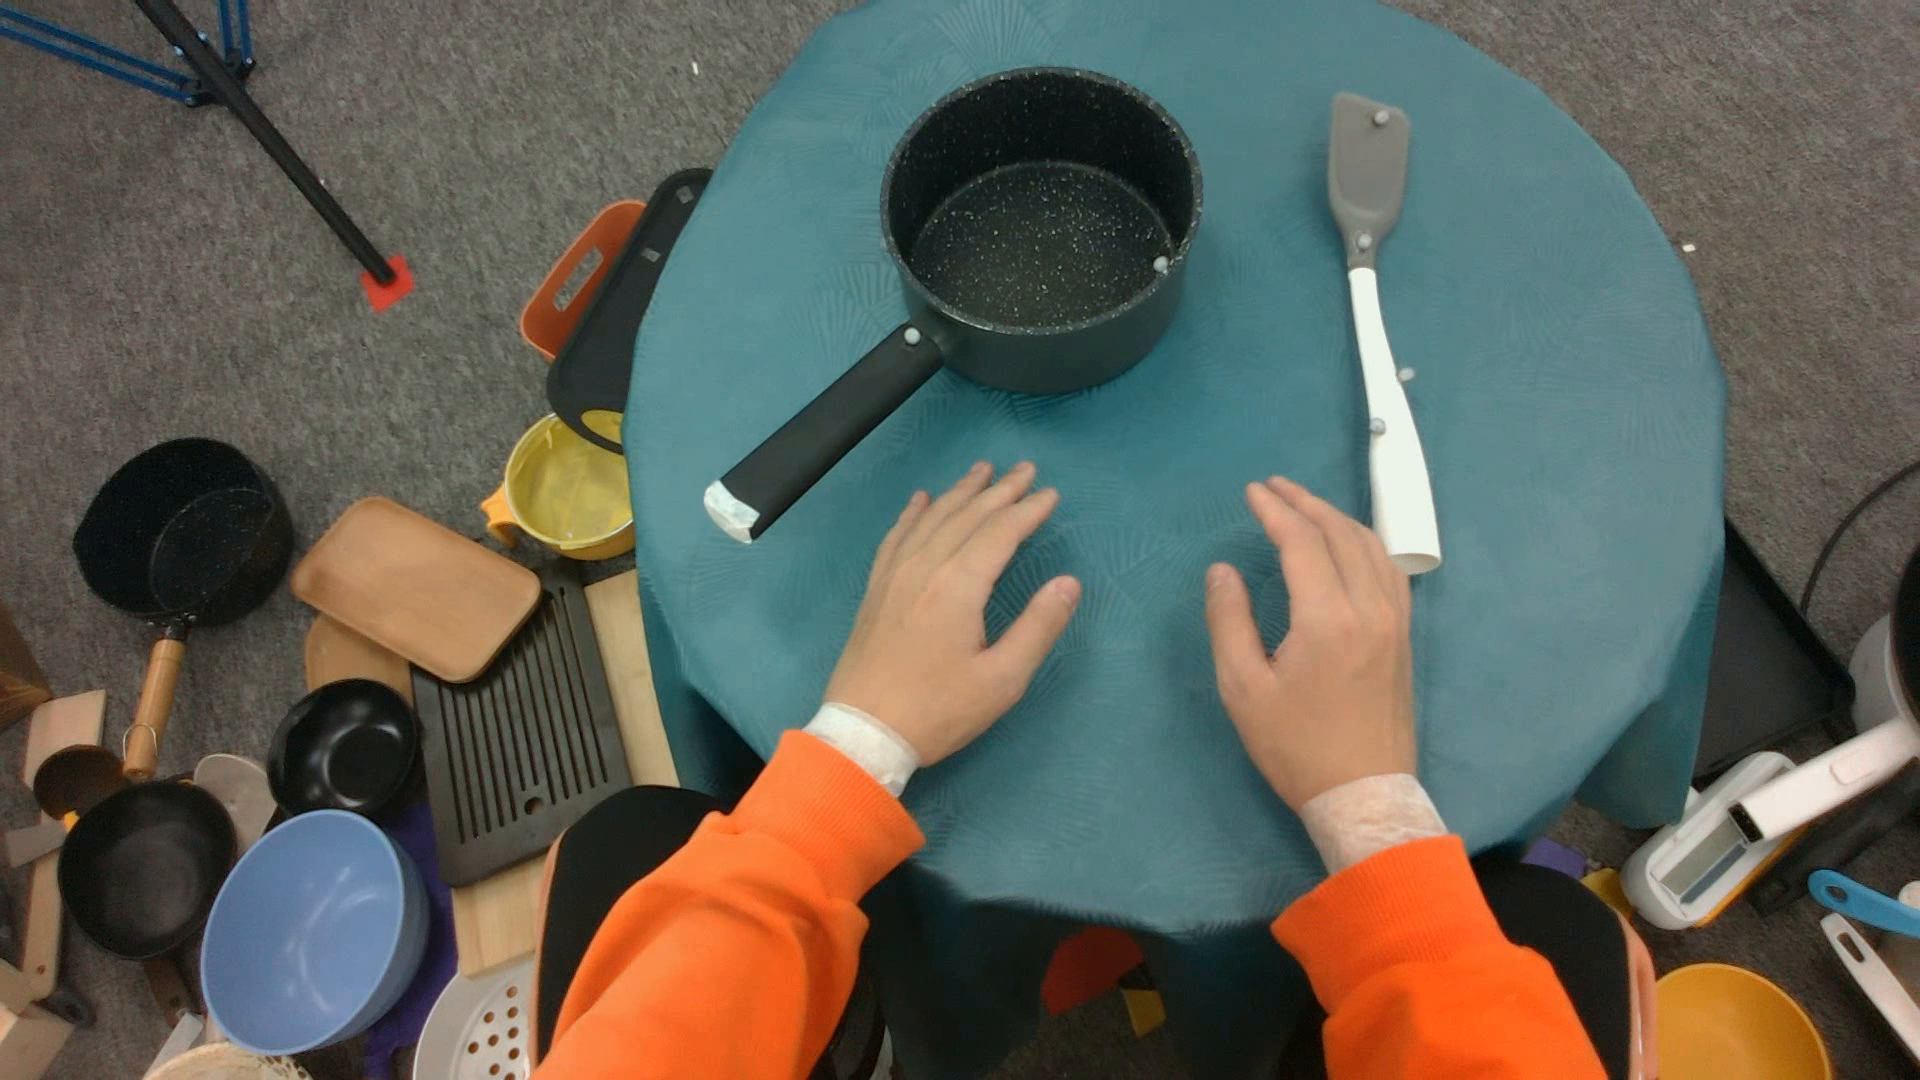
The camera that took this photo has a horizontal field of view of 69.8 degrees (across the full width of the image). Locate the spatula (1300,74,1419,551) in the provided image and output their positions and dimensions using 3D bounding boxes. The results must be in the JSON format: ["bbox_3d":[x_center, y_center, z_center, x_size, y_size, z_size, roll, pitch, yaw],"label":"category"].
[{"bbox_3d":[0.218,-0.132,0.755,0.059,0.032,0.288,8,66,-17],"label":"spatula"}]

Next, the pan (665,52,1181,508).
[{"bbox_3d":[-0.020,-0.123,0.738,0.172,0.086,0.329,38,73,19],"label":"pan"}]
